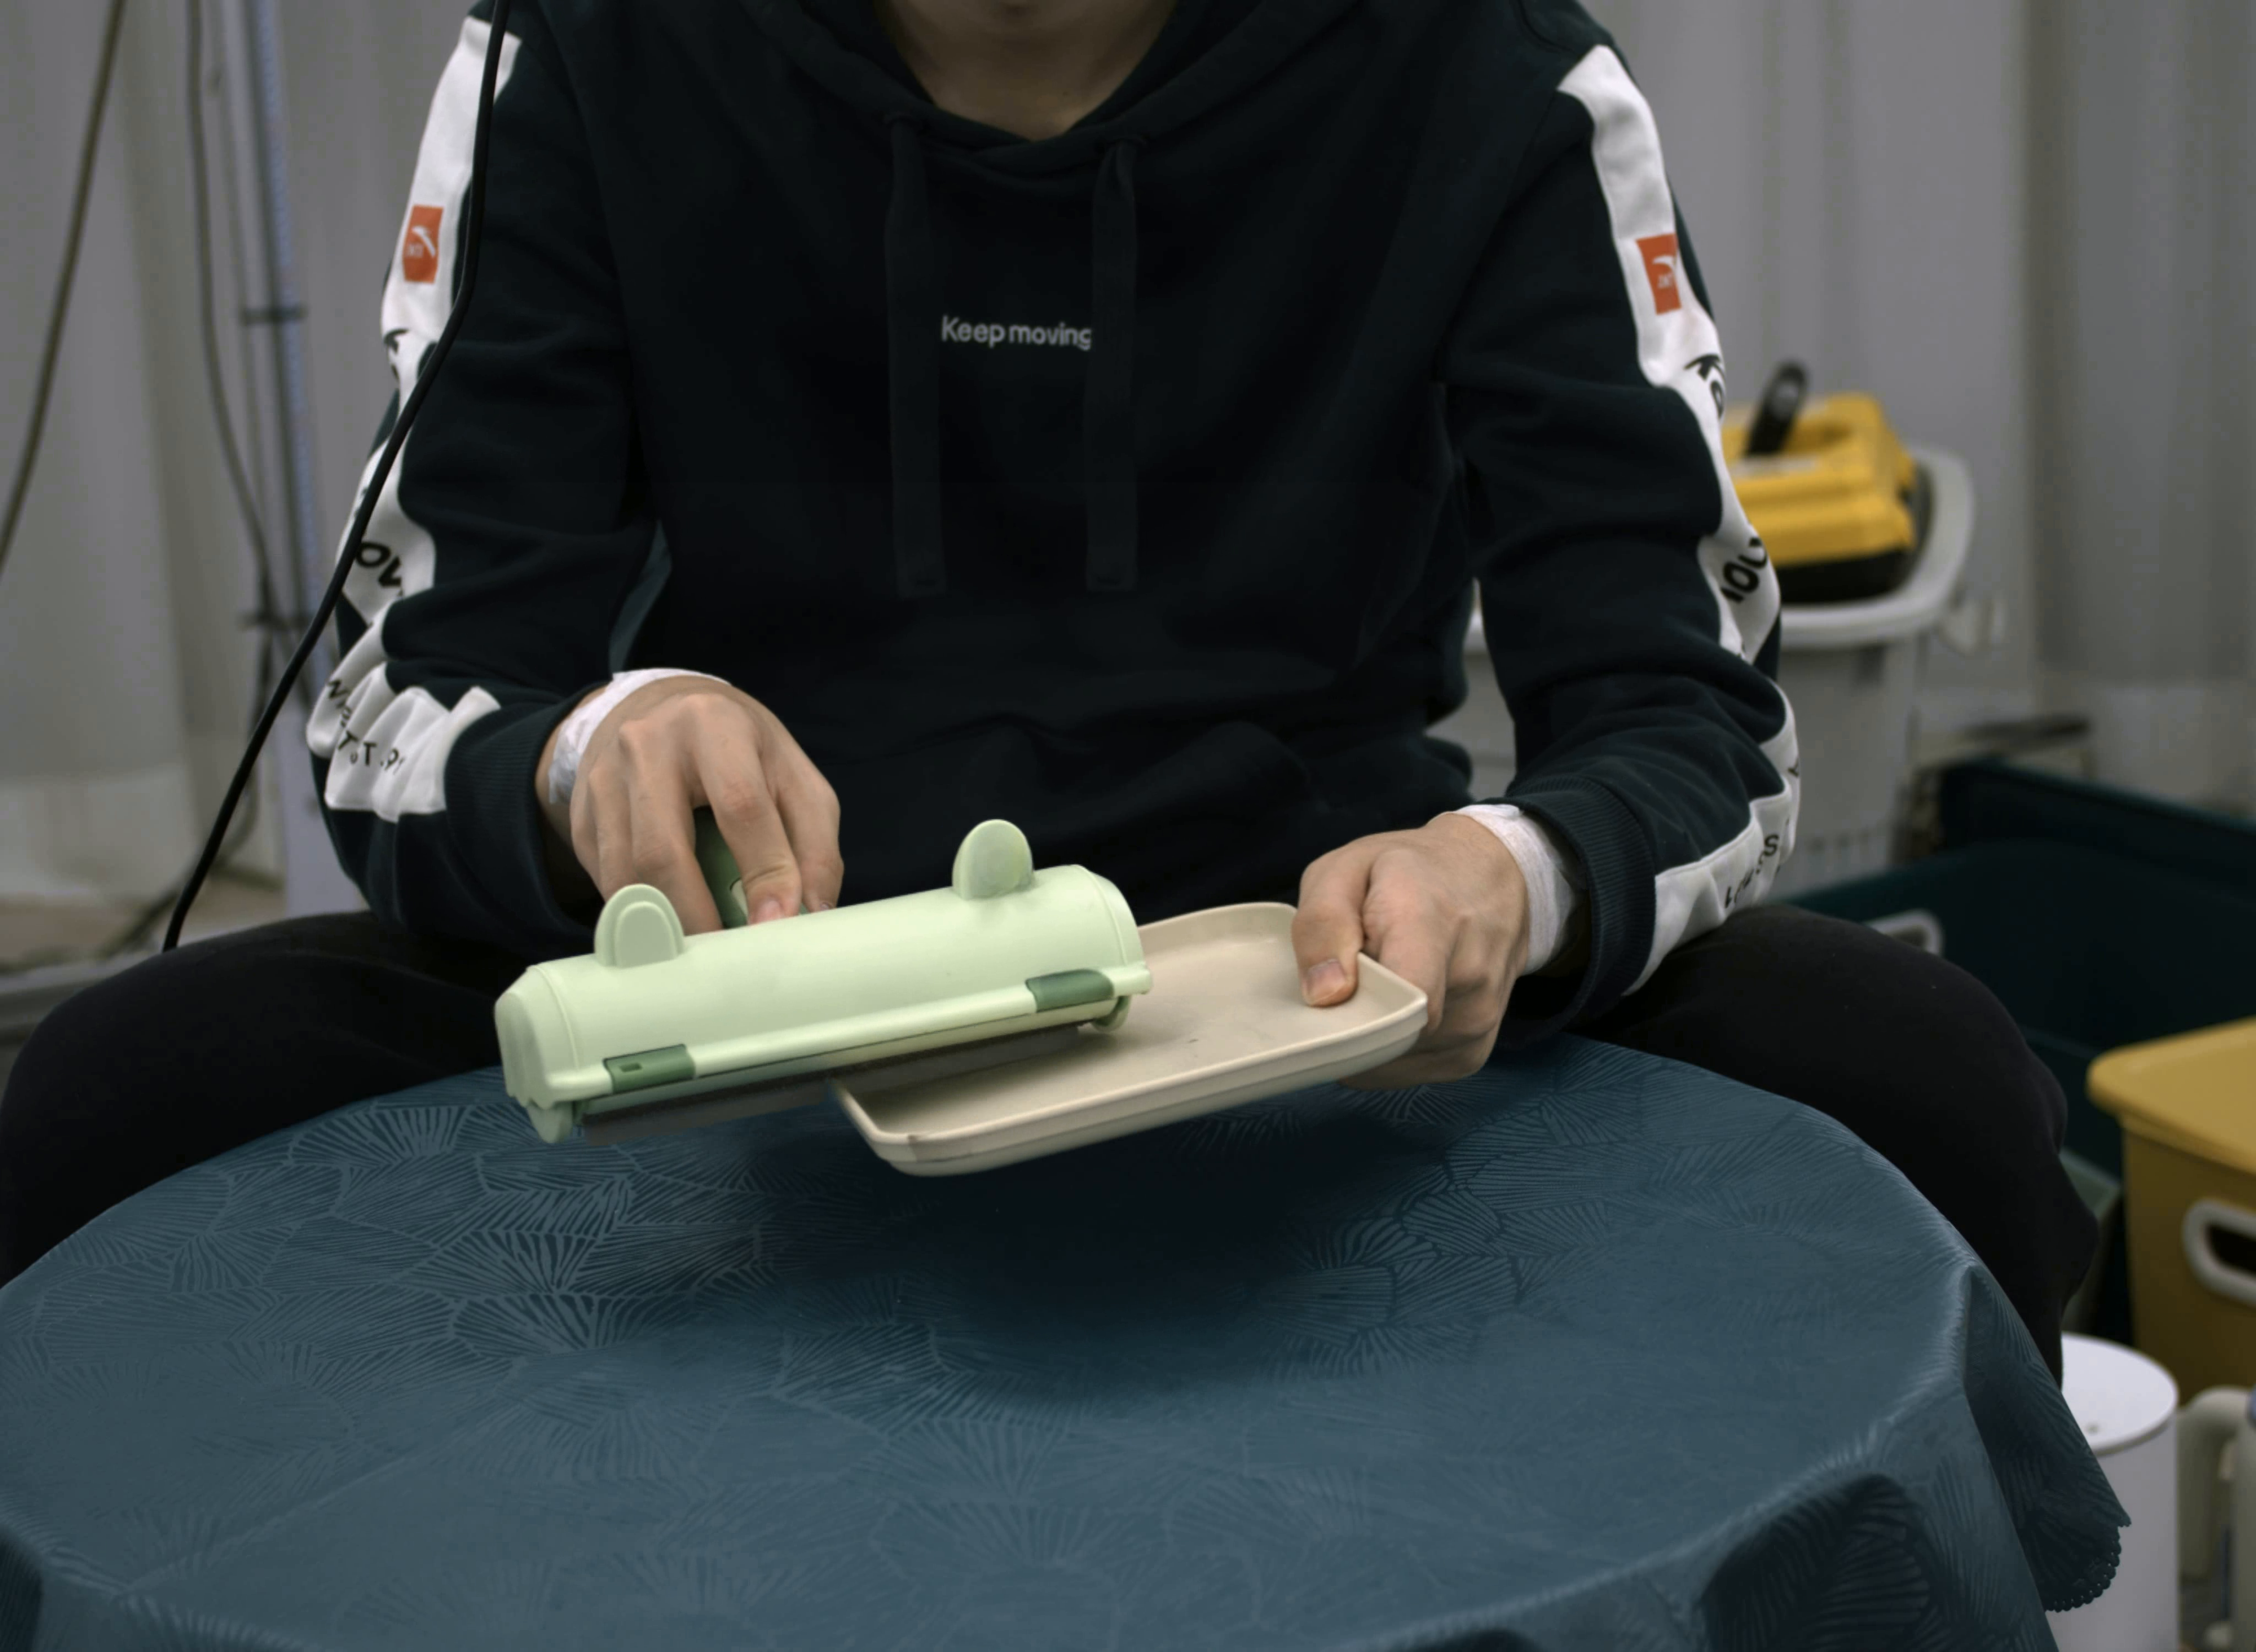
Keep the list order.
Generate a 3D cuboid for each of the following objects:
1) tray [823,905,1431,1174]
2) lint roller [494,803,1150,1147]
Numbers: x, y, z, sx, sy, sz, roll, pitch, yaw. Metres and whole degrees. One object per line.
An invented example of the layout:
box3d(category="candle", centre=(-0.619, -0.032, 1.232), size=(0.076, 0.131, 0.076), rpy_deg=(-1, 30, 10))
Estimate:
box3d(category="tray", centre=(-0.009, 0.065, 1.680), size=(0.171, 0.017, 0.241), rpy_deg=(-13, 10, -9))
box3d(category="lint roller", centre=(-0.114, 0.020, 1.706), size=(0.198, 0.081, 0.186), rpy_deg=(-11, 34, -20))
